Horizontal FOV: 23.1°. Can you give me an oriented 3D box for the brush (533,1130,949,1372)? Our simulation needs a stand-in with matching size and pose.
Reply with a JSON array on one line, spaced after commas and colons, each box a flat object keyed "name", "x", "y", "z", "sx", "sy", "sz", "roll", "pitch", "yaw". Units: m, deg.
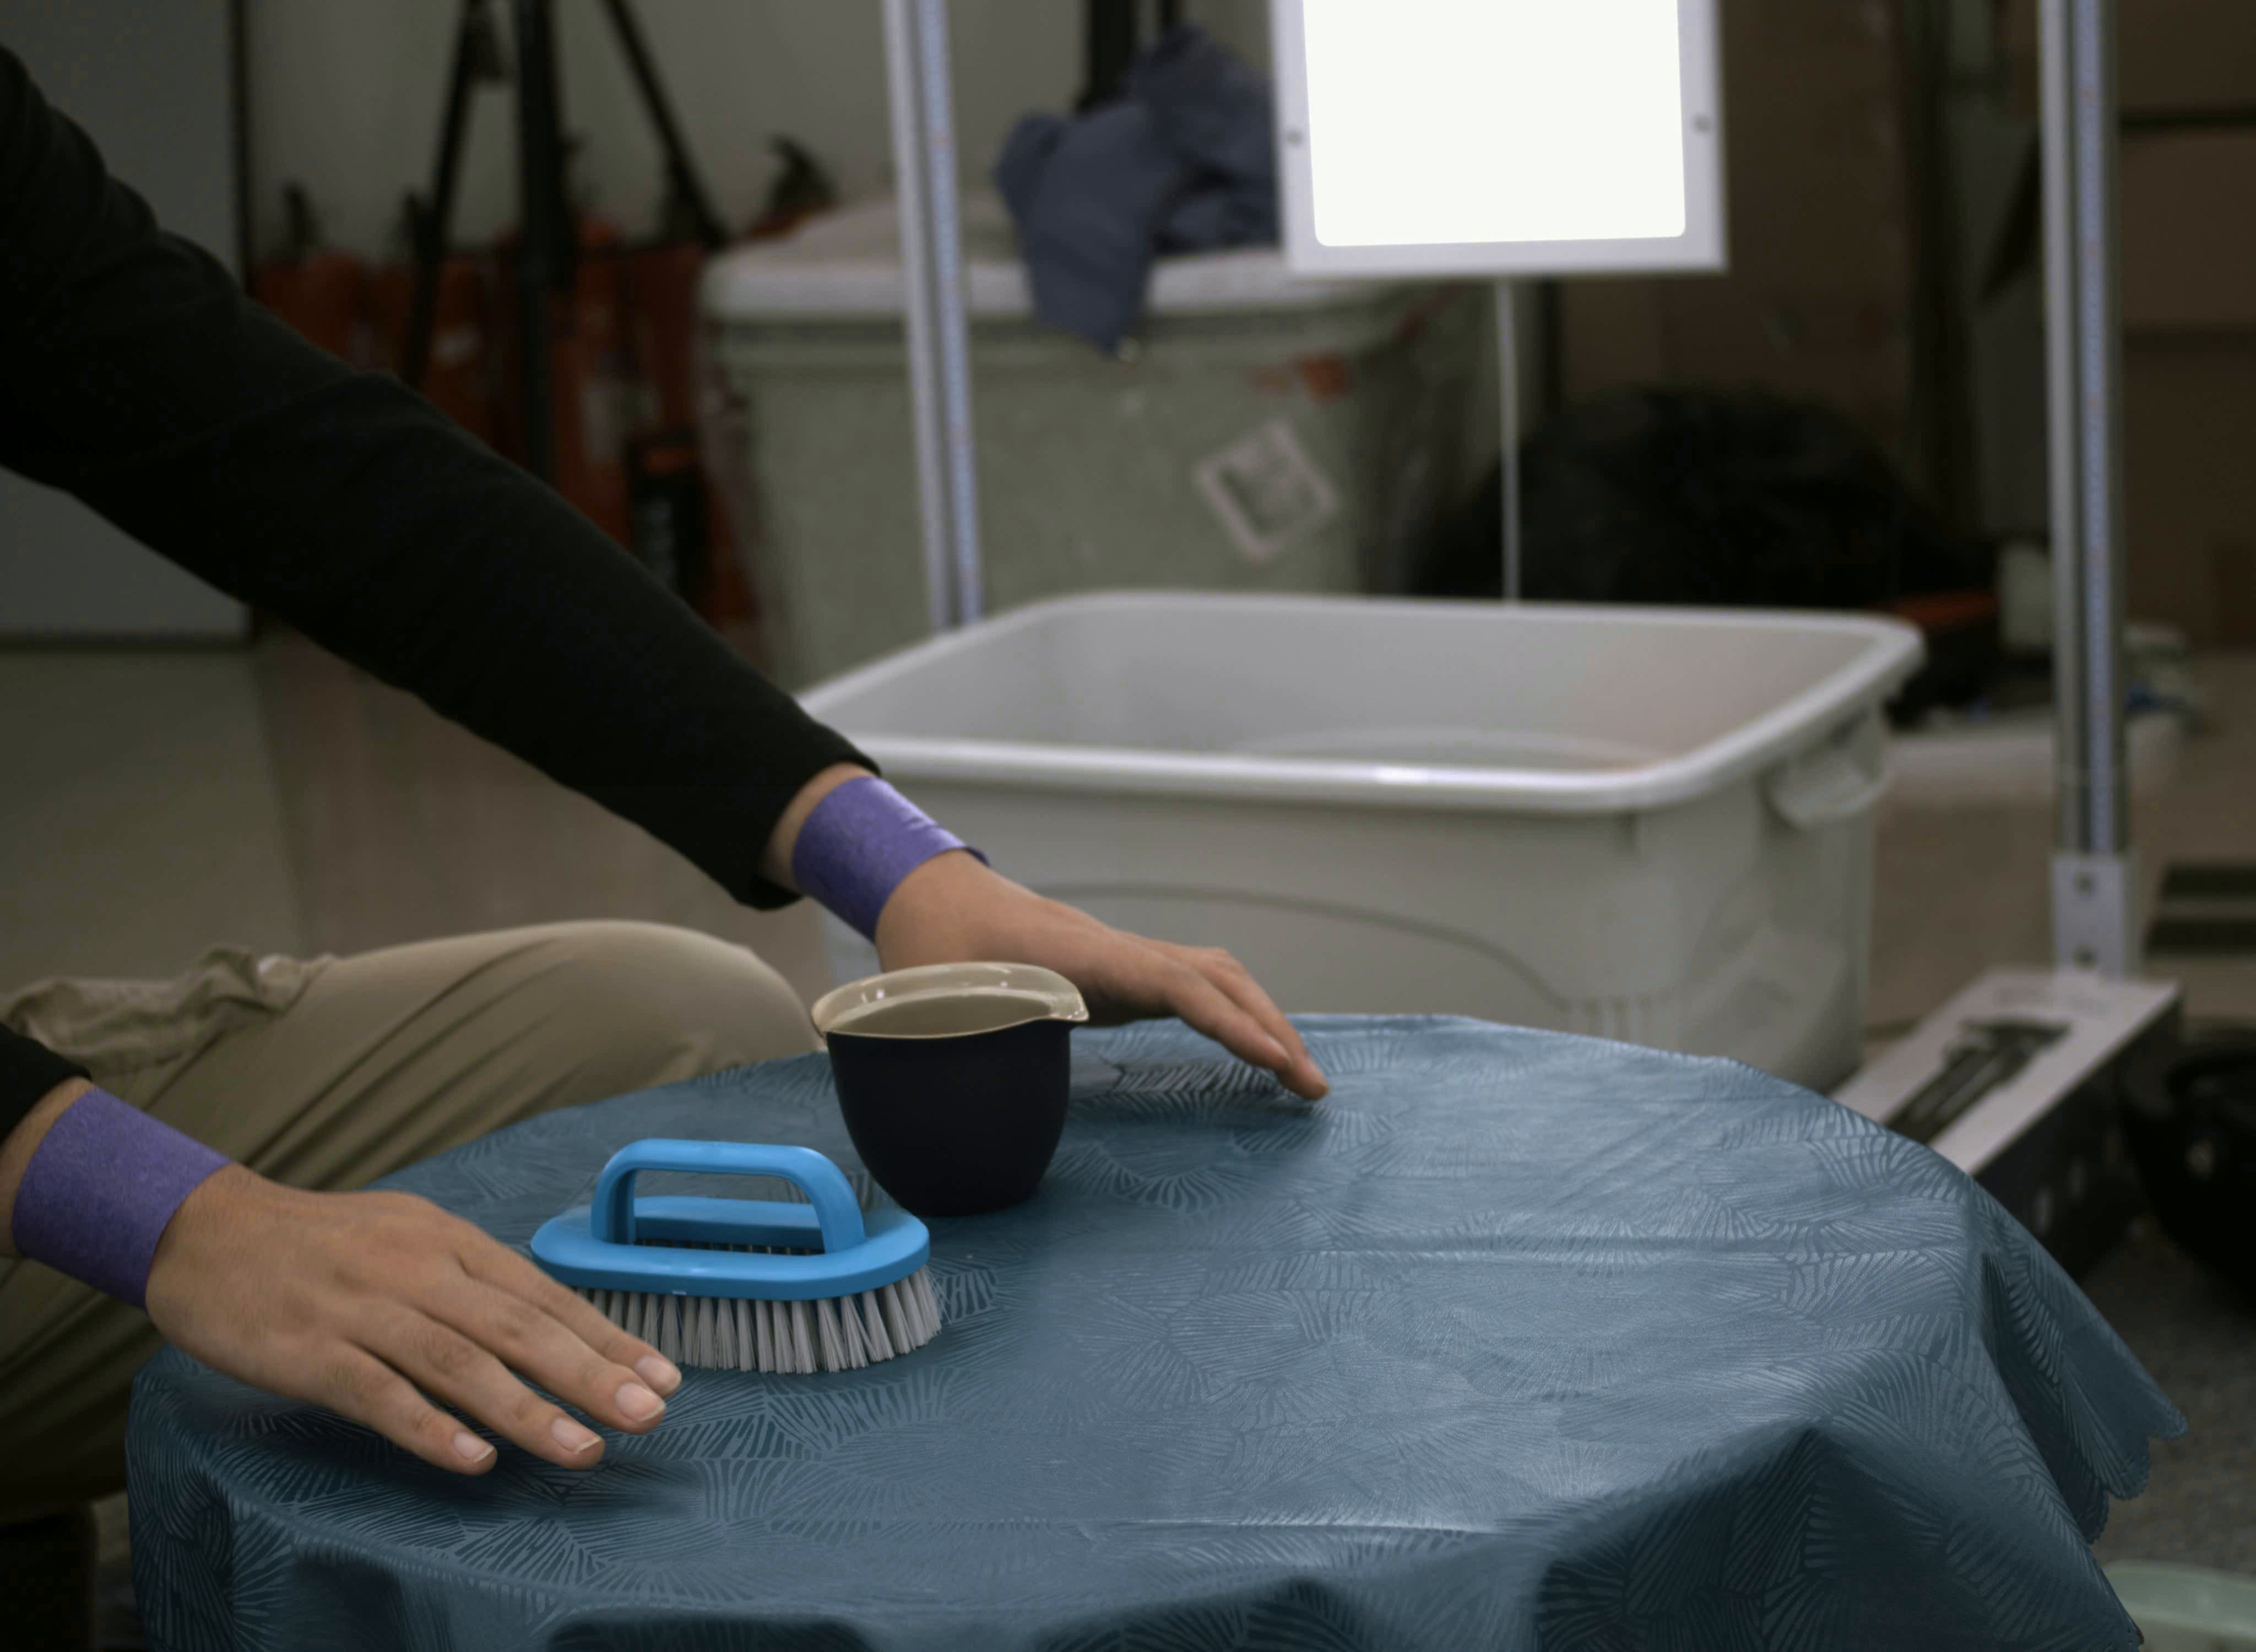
[{"name": "brush", "x": -0.130, "y": 0.131, "z": 1.787, "sx": 0.144, "sy": 0.064, "sz": 0.082, "roll": 1, "pitch": 19, "yaw": 27}]

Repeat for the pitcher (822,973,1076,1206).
[{"name": "pitcher", "x": -0.058, "y": 0.091, "z": 1.904, "sx": 0.098, "sy": 0.071, "sz": 0.081, "roll": 7, "pitch": 17, "yaw": 35}]
